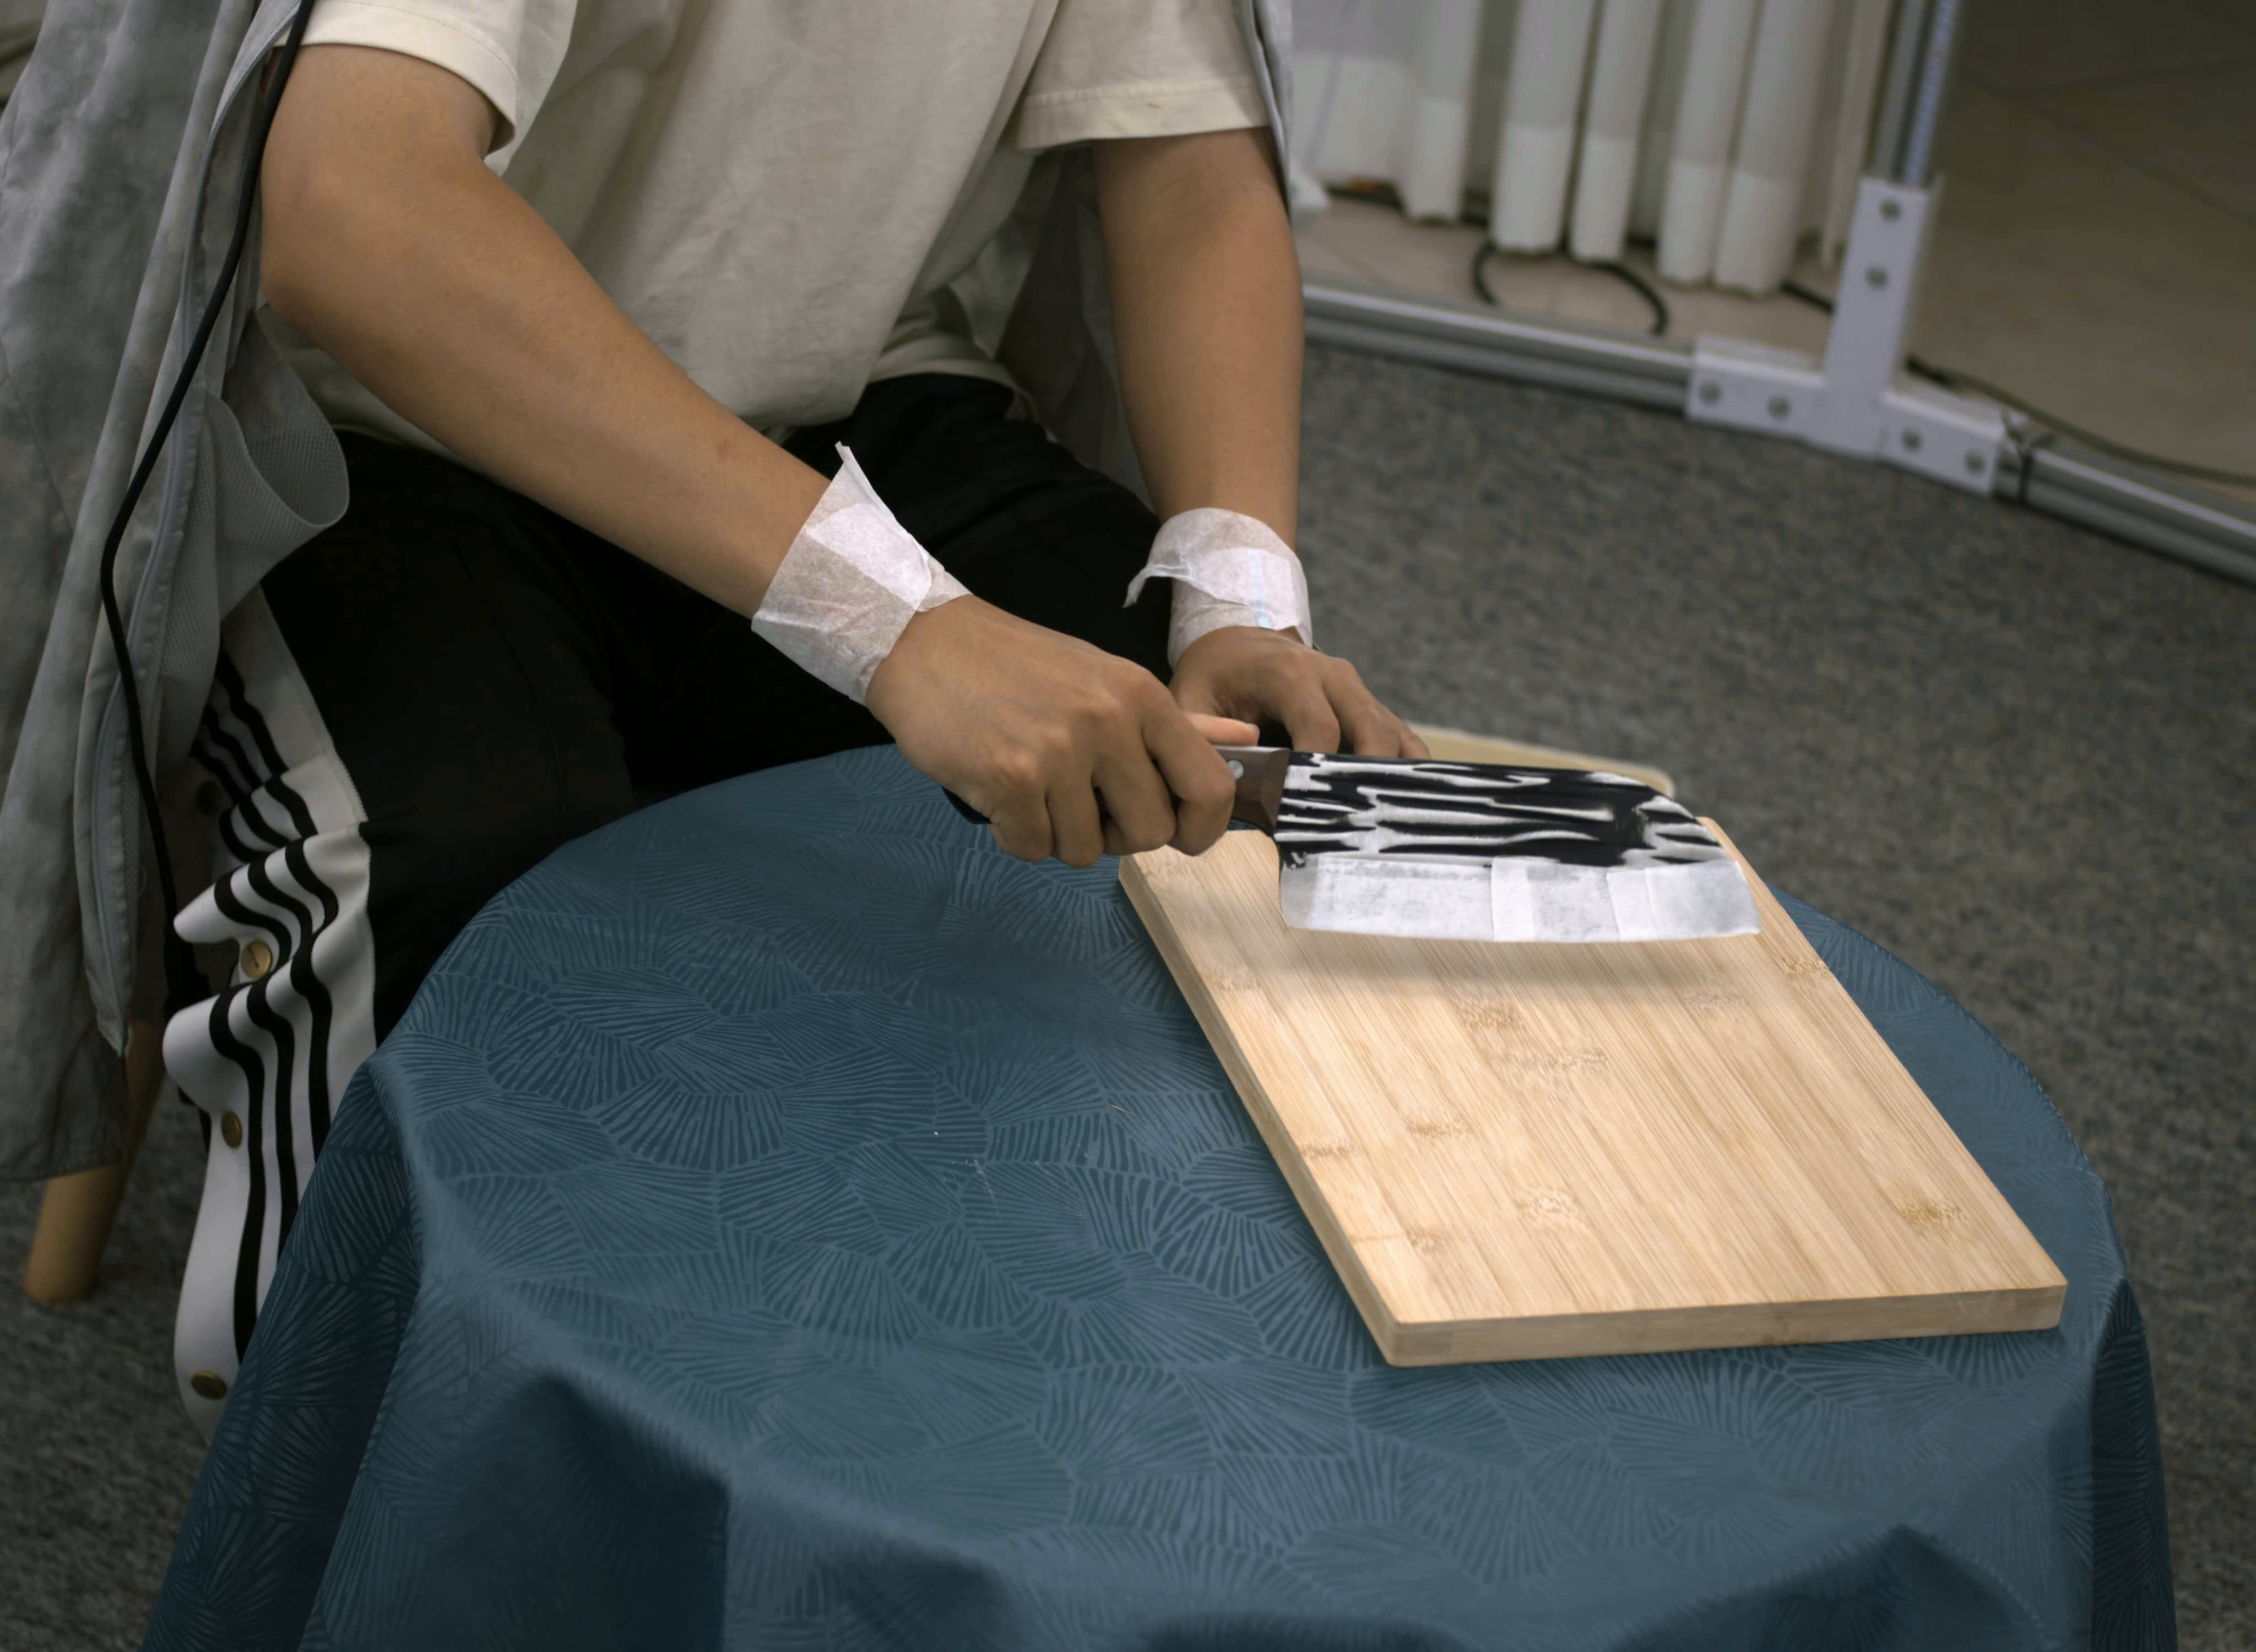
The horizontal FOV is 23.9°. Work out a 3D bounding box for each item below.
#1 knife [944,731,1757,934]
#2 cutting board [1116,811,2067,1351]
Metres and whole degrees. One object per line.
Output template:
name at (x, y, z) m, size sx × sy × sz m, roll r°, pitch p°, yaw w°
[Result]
knife at (0.081, 0.004, 1.916) m, size 0.298 × 0.068 × 0.024 m, roll 5°, pitch -19°, yaw -8°
cutting board at (0.155, 0.085, 1.899) m, size 0.249 × 0.023 × 0.351 m, roll -2°, pitch 28°, yaw -17°
